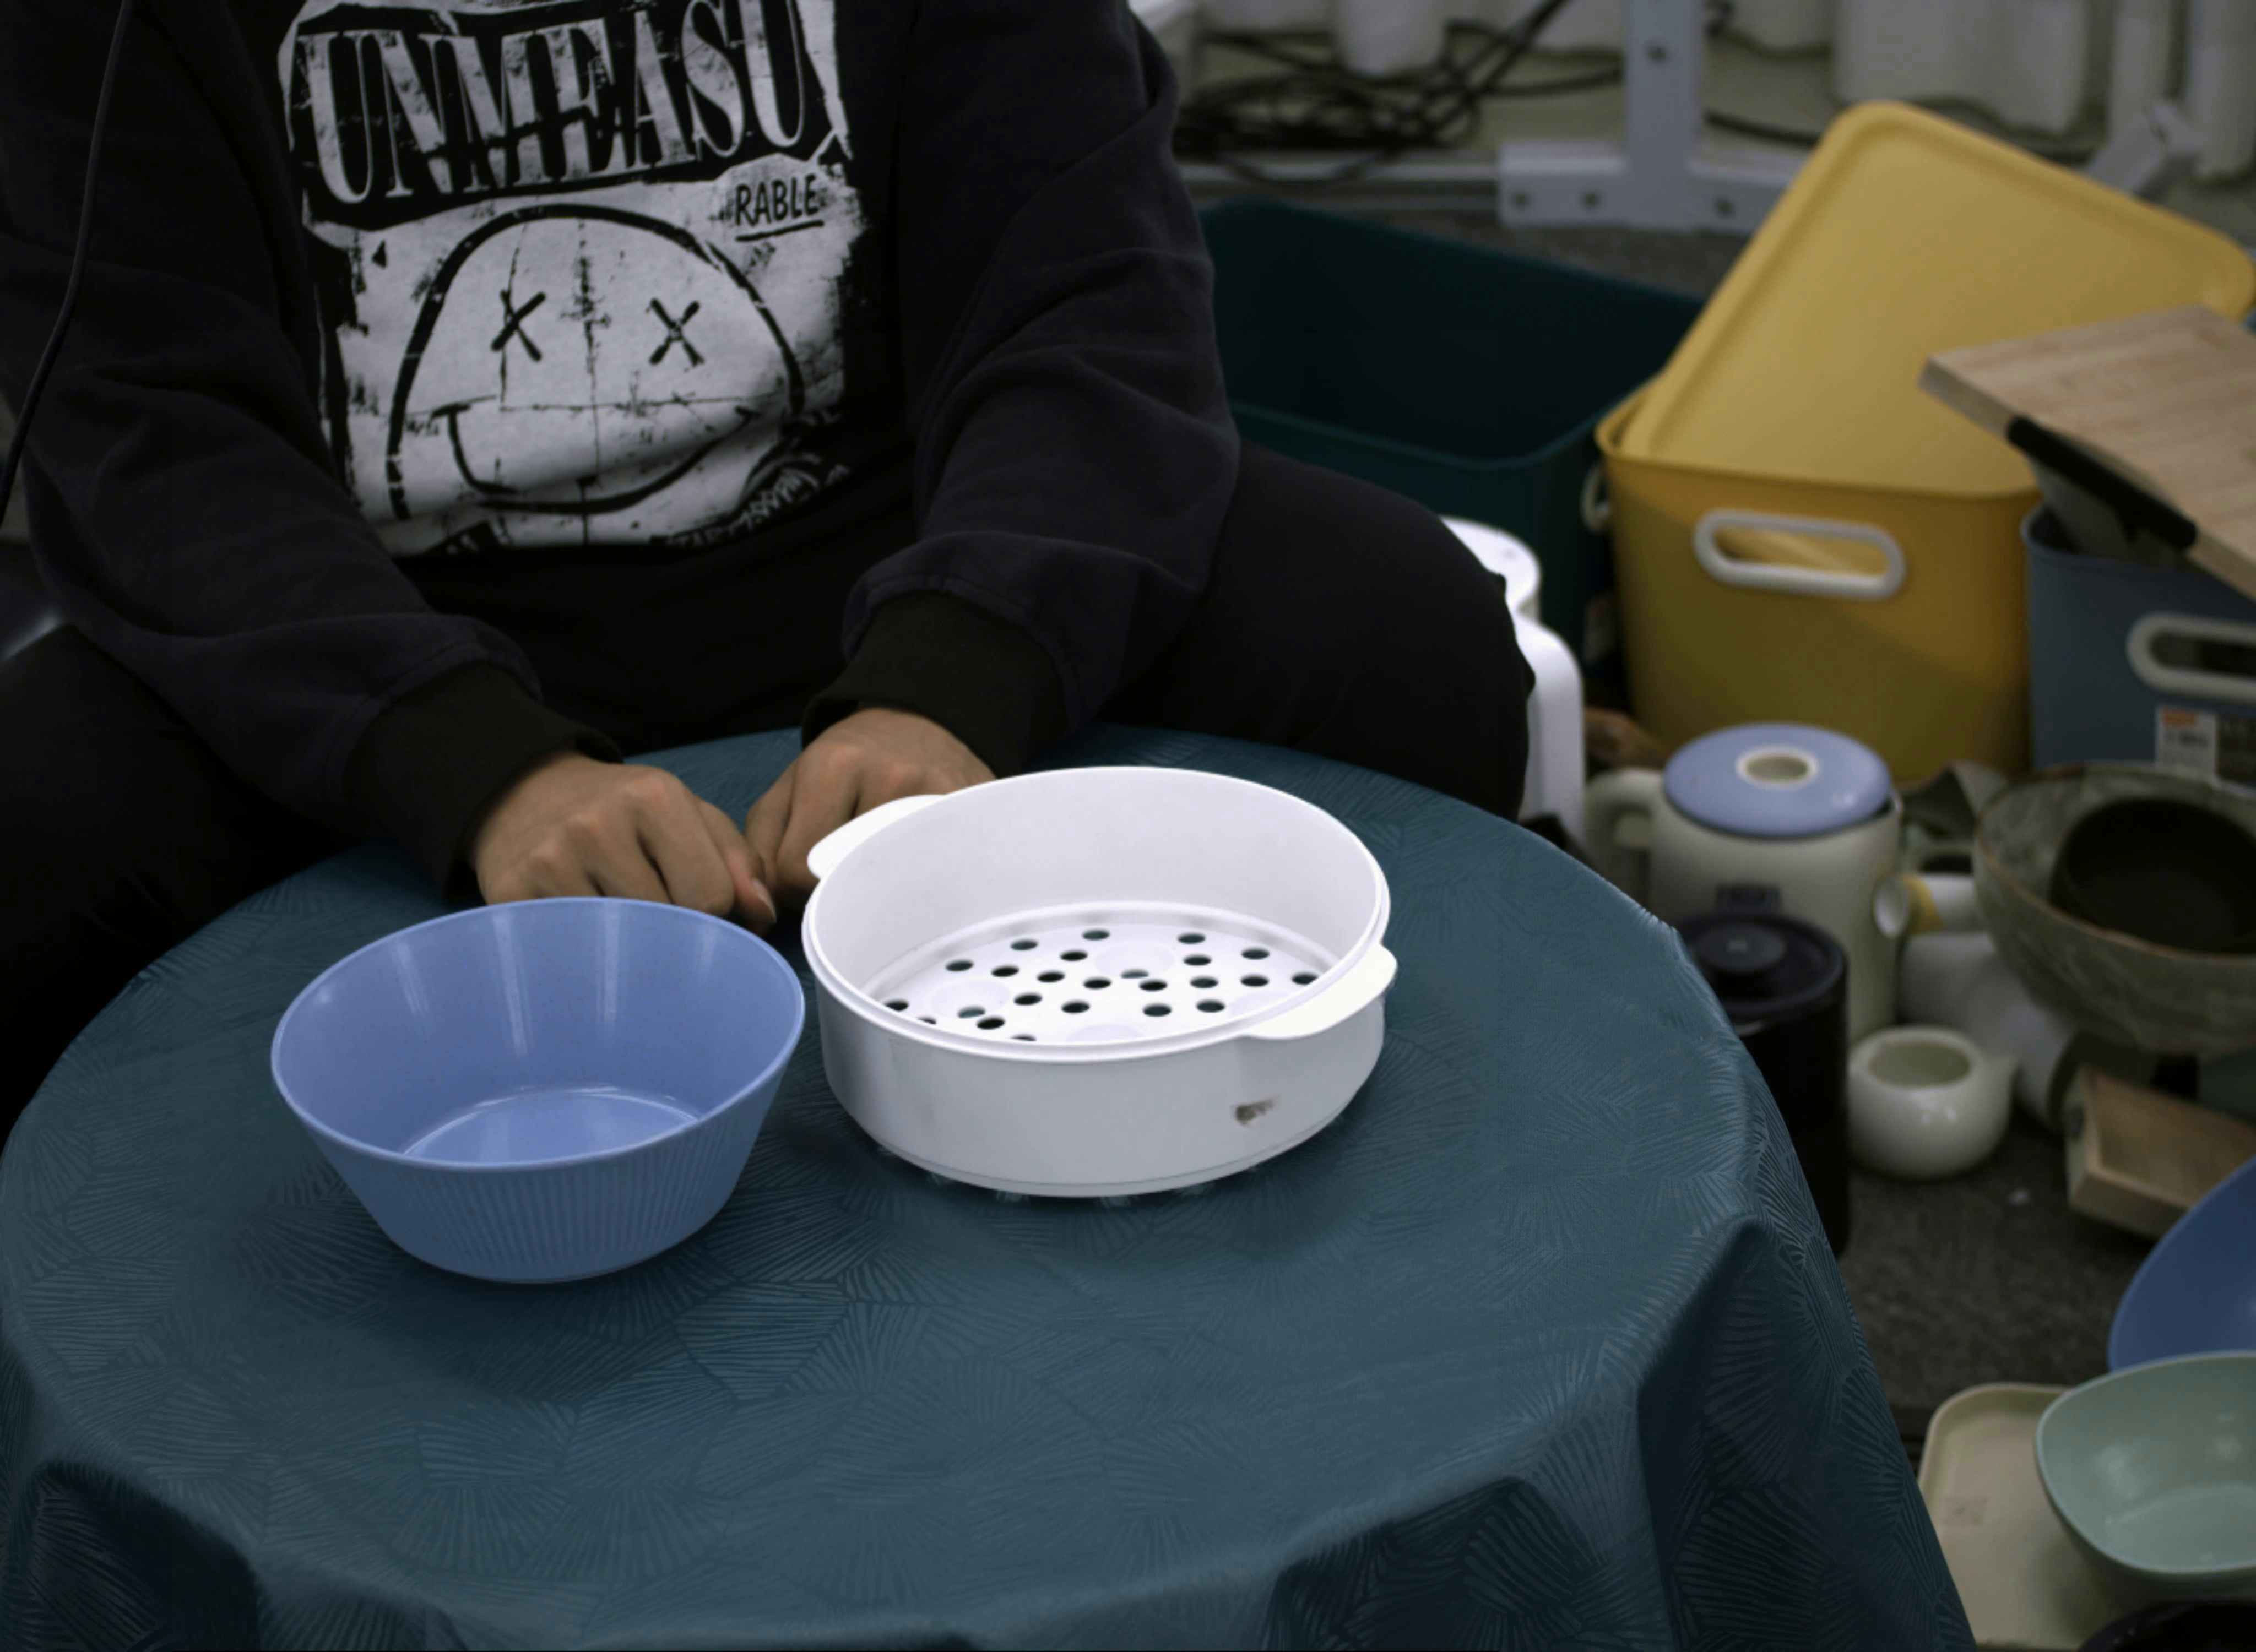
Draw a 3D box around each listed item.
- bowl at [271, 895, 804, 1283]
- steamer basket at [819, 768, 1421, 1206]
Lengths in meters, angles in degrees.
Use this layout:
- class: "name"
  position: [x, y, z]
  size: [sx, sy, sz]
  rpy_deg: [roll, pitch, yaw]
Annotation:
- class: "bowl"
  position: [-0.192, 0.093, 1.858]
  size: [0.175, 0.069, 0.179]
  rpy_deg: [-2, 28, 1]
- class: "steamer basket"
  position: [-0.004, 0.055, 1.917]
  size: [0.230, 0.068, 0.205]
  rpy_deg: [20, 35, 34]
